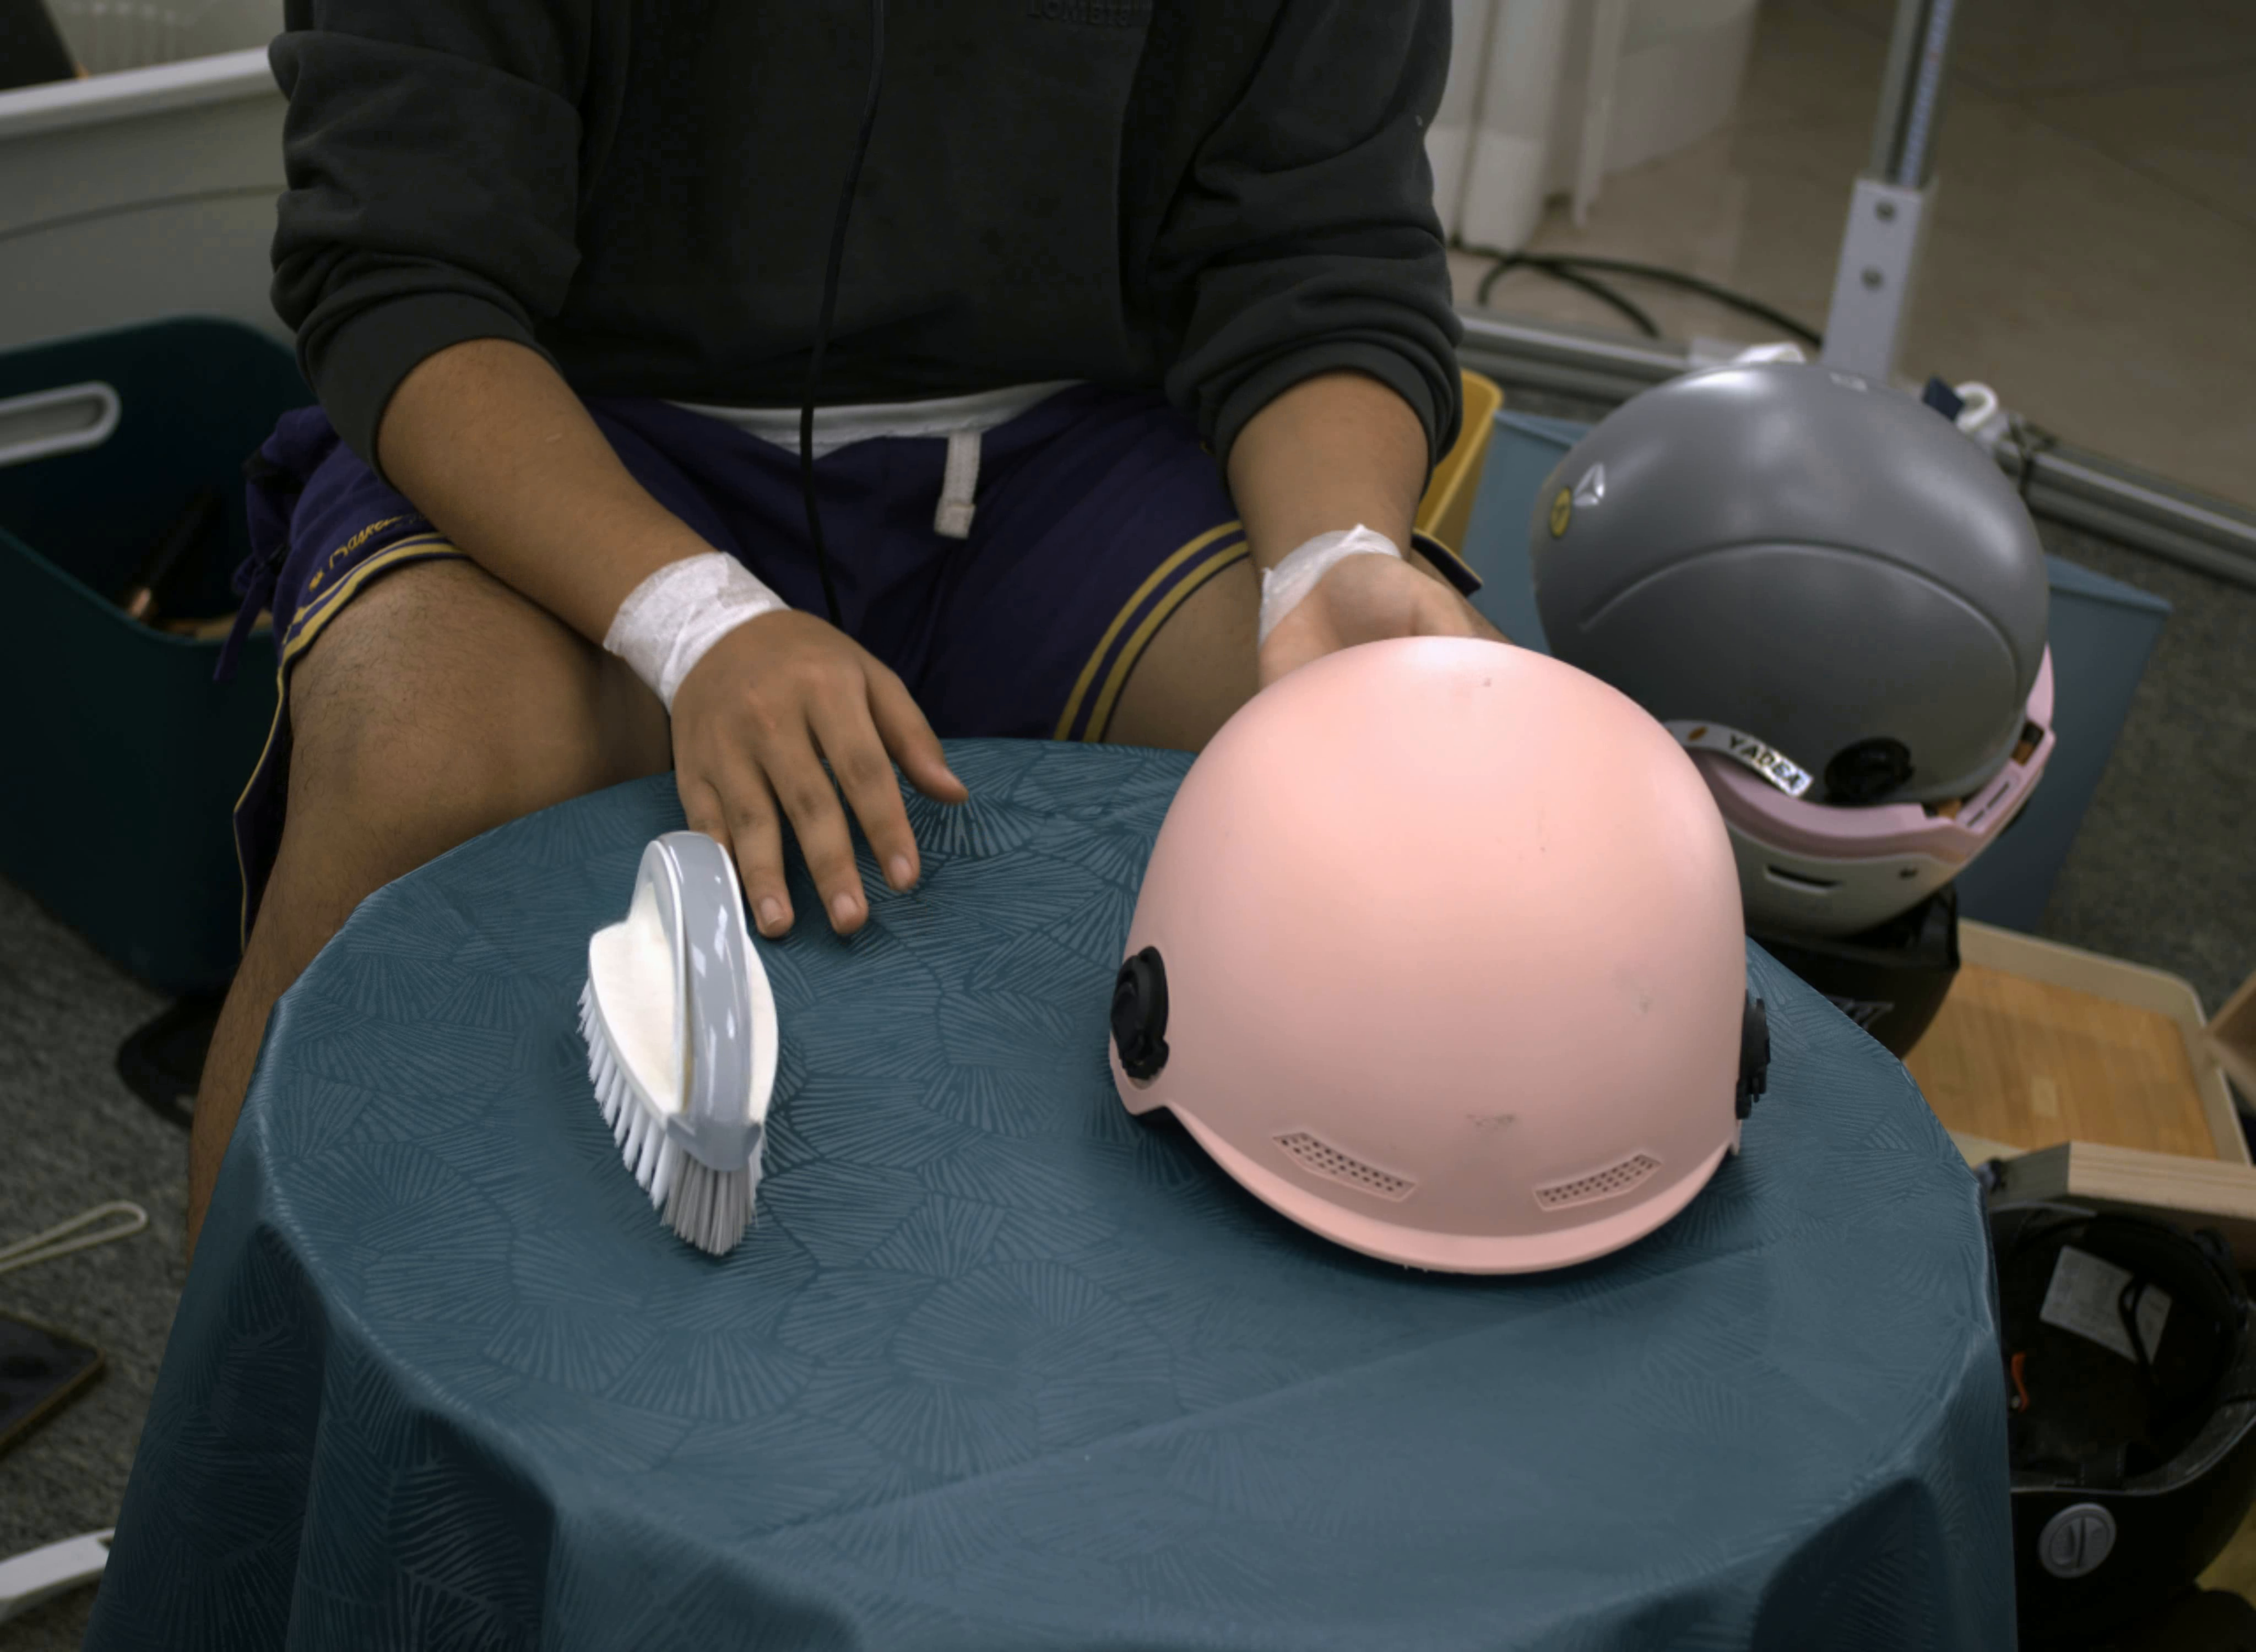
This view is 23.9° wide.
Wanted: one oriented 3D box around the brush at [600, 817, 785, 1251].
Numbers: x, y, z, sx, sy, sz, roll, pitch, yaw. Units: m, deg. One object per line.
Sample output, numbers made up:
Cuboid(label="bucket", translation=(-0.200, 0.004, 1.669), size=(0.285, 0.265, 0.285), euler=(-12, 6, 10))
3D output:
Cuboid(label="brush", translation=(-0.143, 0.062, 1.790), size=(0.061, 0.094, 0.177), euler=(-1, 29, -11))

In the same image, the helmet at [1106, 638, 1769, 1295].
Cuboid(label="helmet", translation=(0.113, 0.029, 1.847), size=(0.233, 0.158, 0.268), euler=(4, 31, -6))
